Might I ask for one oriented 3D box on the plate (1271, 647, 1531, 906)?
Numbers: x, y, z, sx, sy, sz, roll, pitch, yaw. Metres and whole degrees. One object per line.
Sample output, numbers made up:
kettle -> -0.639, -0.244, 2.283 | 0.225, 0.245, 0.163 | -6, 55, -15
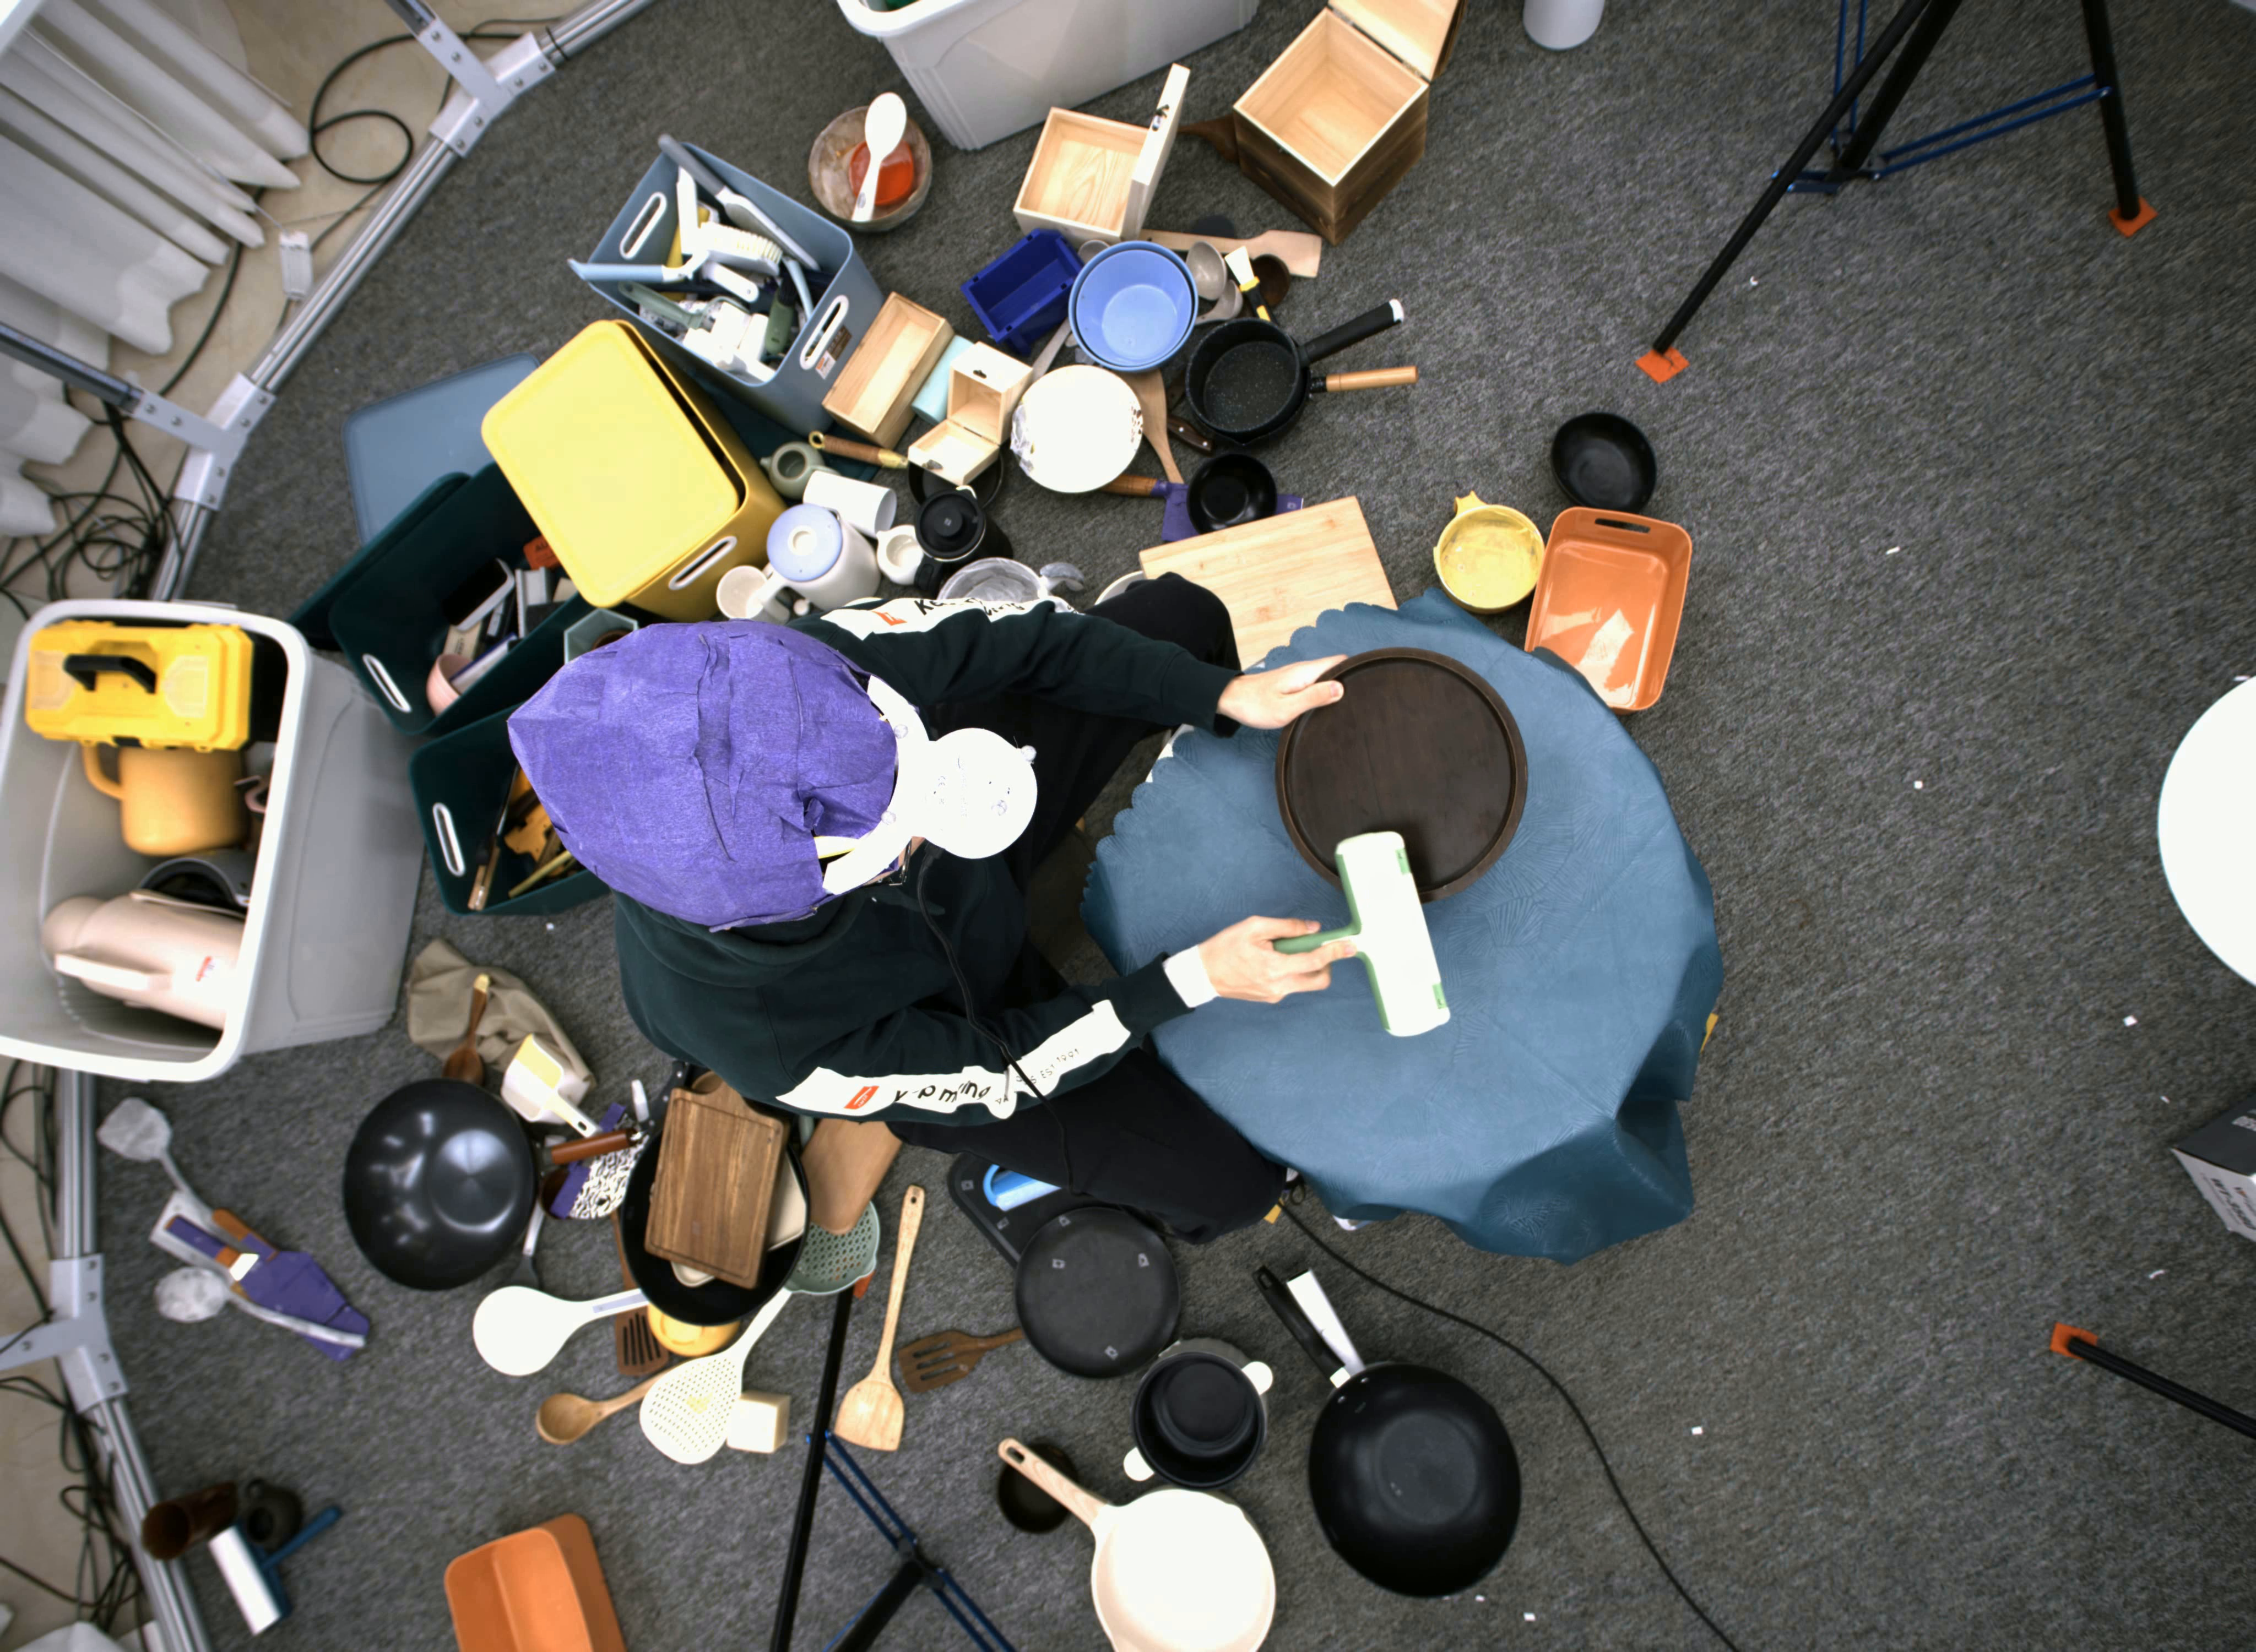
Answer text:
plate -> 0.265, -0.048, 1.341 | 0.256, 0.028, 0.256 | 4, 99, 26

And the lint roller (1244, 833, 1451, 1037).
lint roller -> 0.199, 0.120, 1.334 | 0.184, 0.081, 0.200 | -15, 99, 10
